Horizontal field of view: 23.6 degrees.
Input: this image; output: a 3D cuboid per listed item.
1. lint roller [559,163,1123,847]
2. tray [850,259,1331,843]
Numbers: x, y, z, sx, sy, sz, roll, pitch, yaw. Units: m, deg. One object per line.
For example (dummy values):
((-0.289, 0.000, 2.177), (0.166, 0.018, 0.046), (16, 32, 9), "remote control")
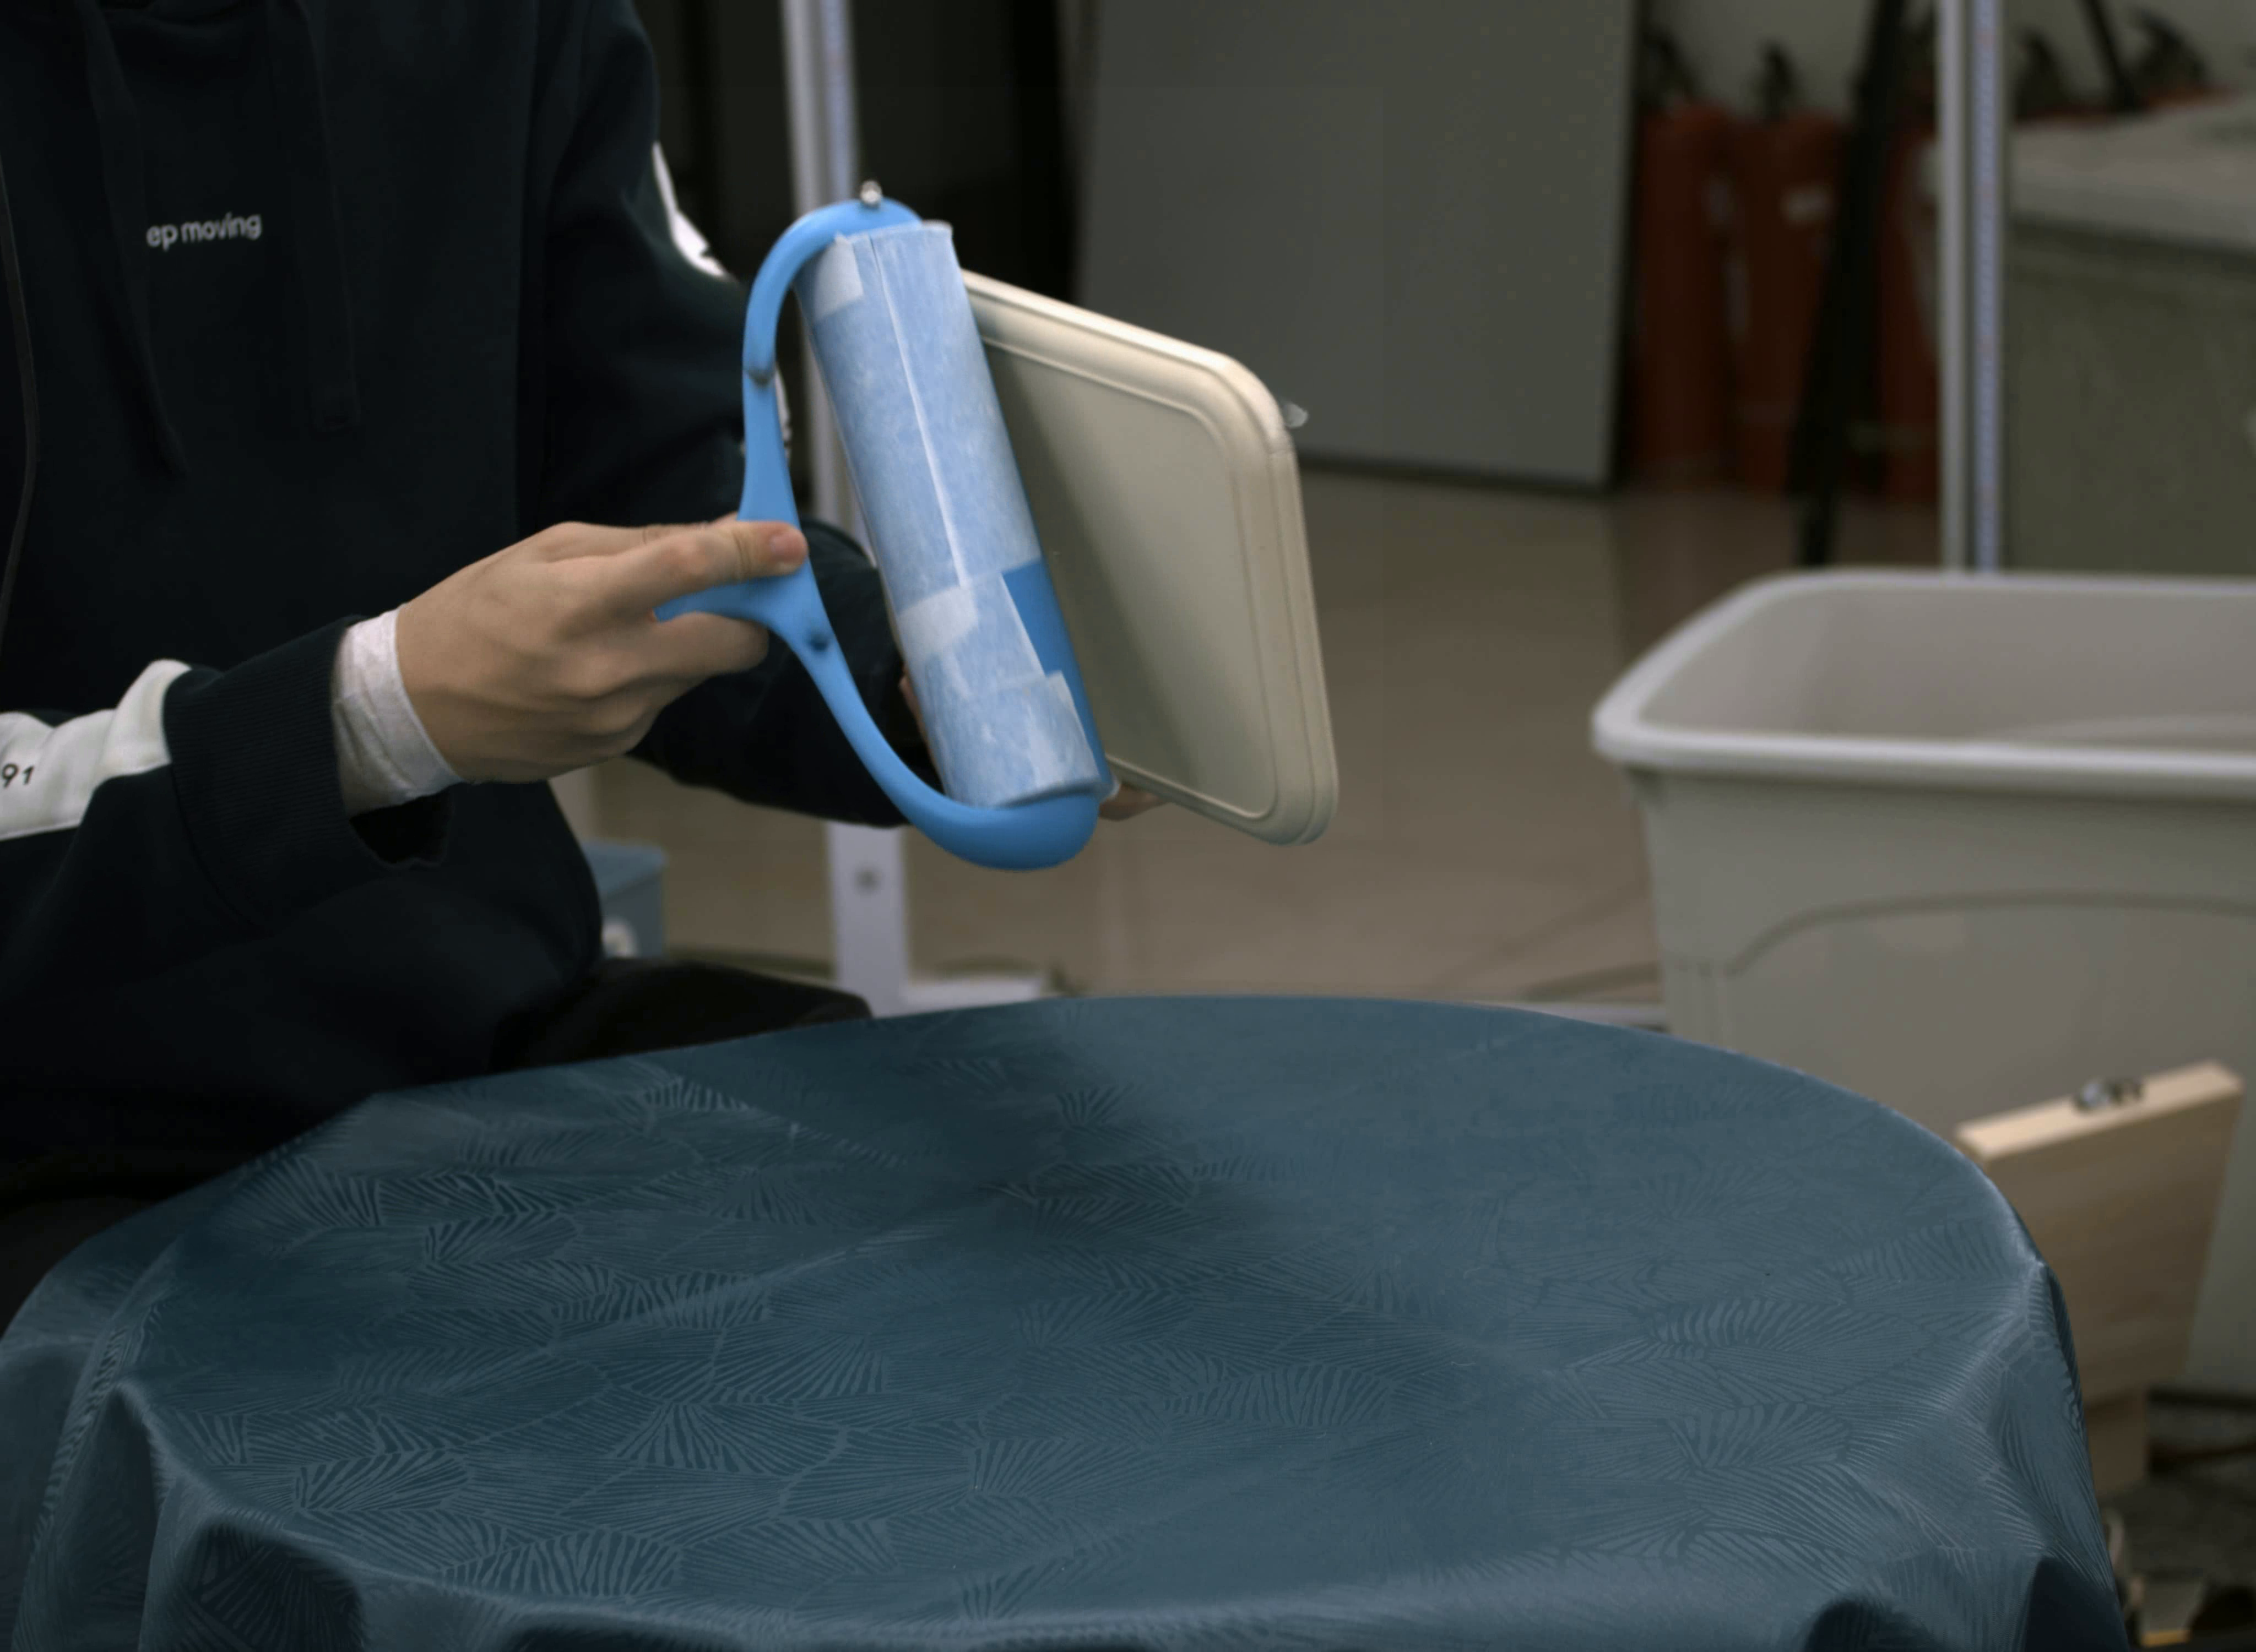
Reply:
((-0.109, -0.081, 1.733), (0.179, 0.232, 0.067), (-22, -12, 11), "lint roller")
((-0.020, -0.093, 1.764), (0.017, 0.172, 0.242), (-24, 27, -30), "tray")
